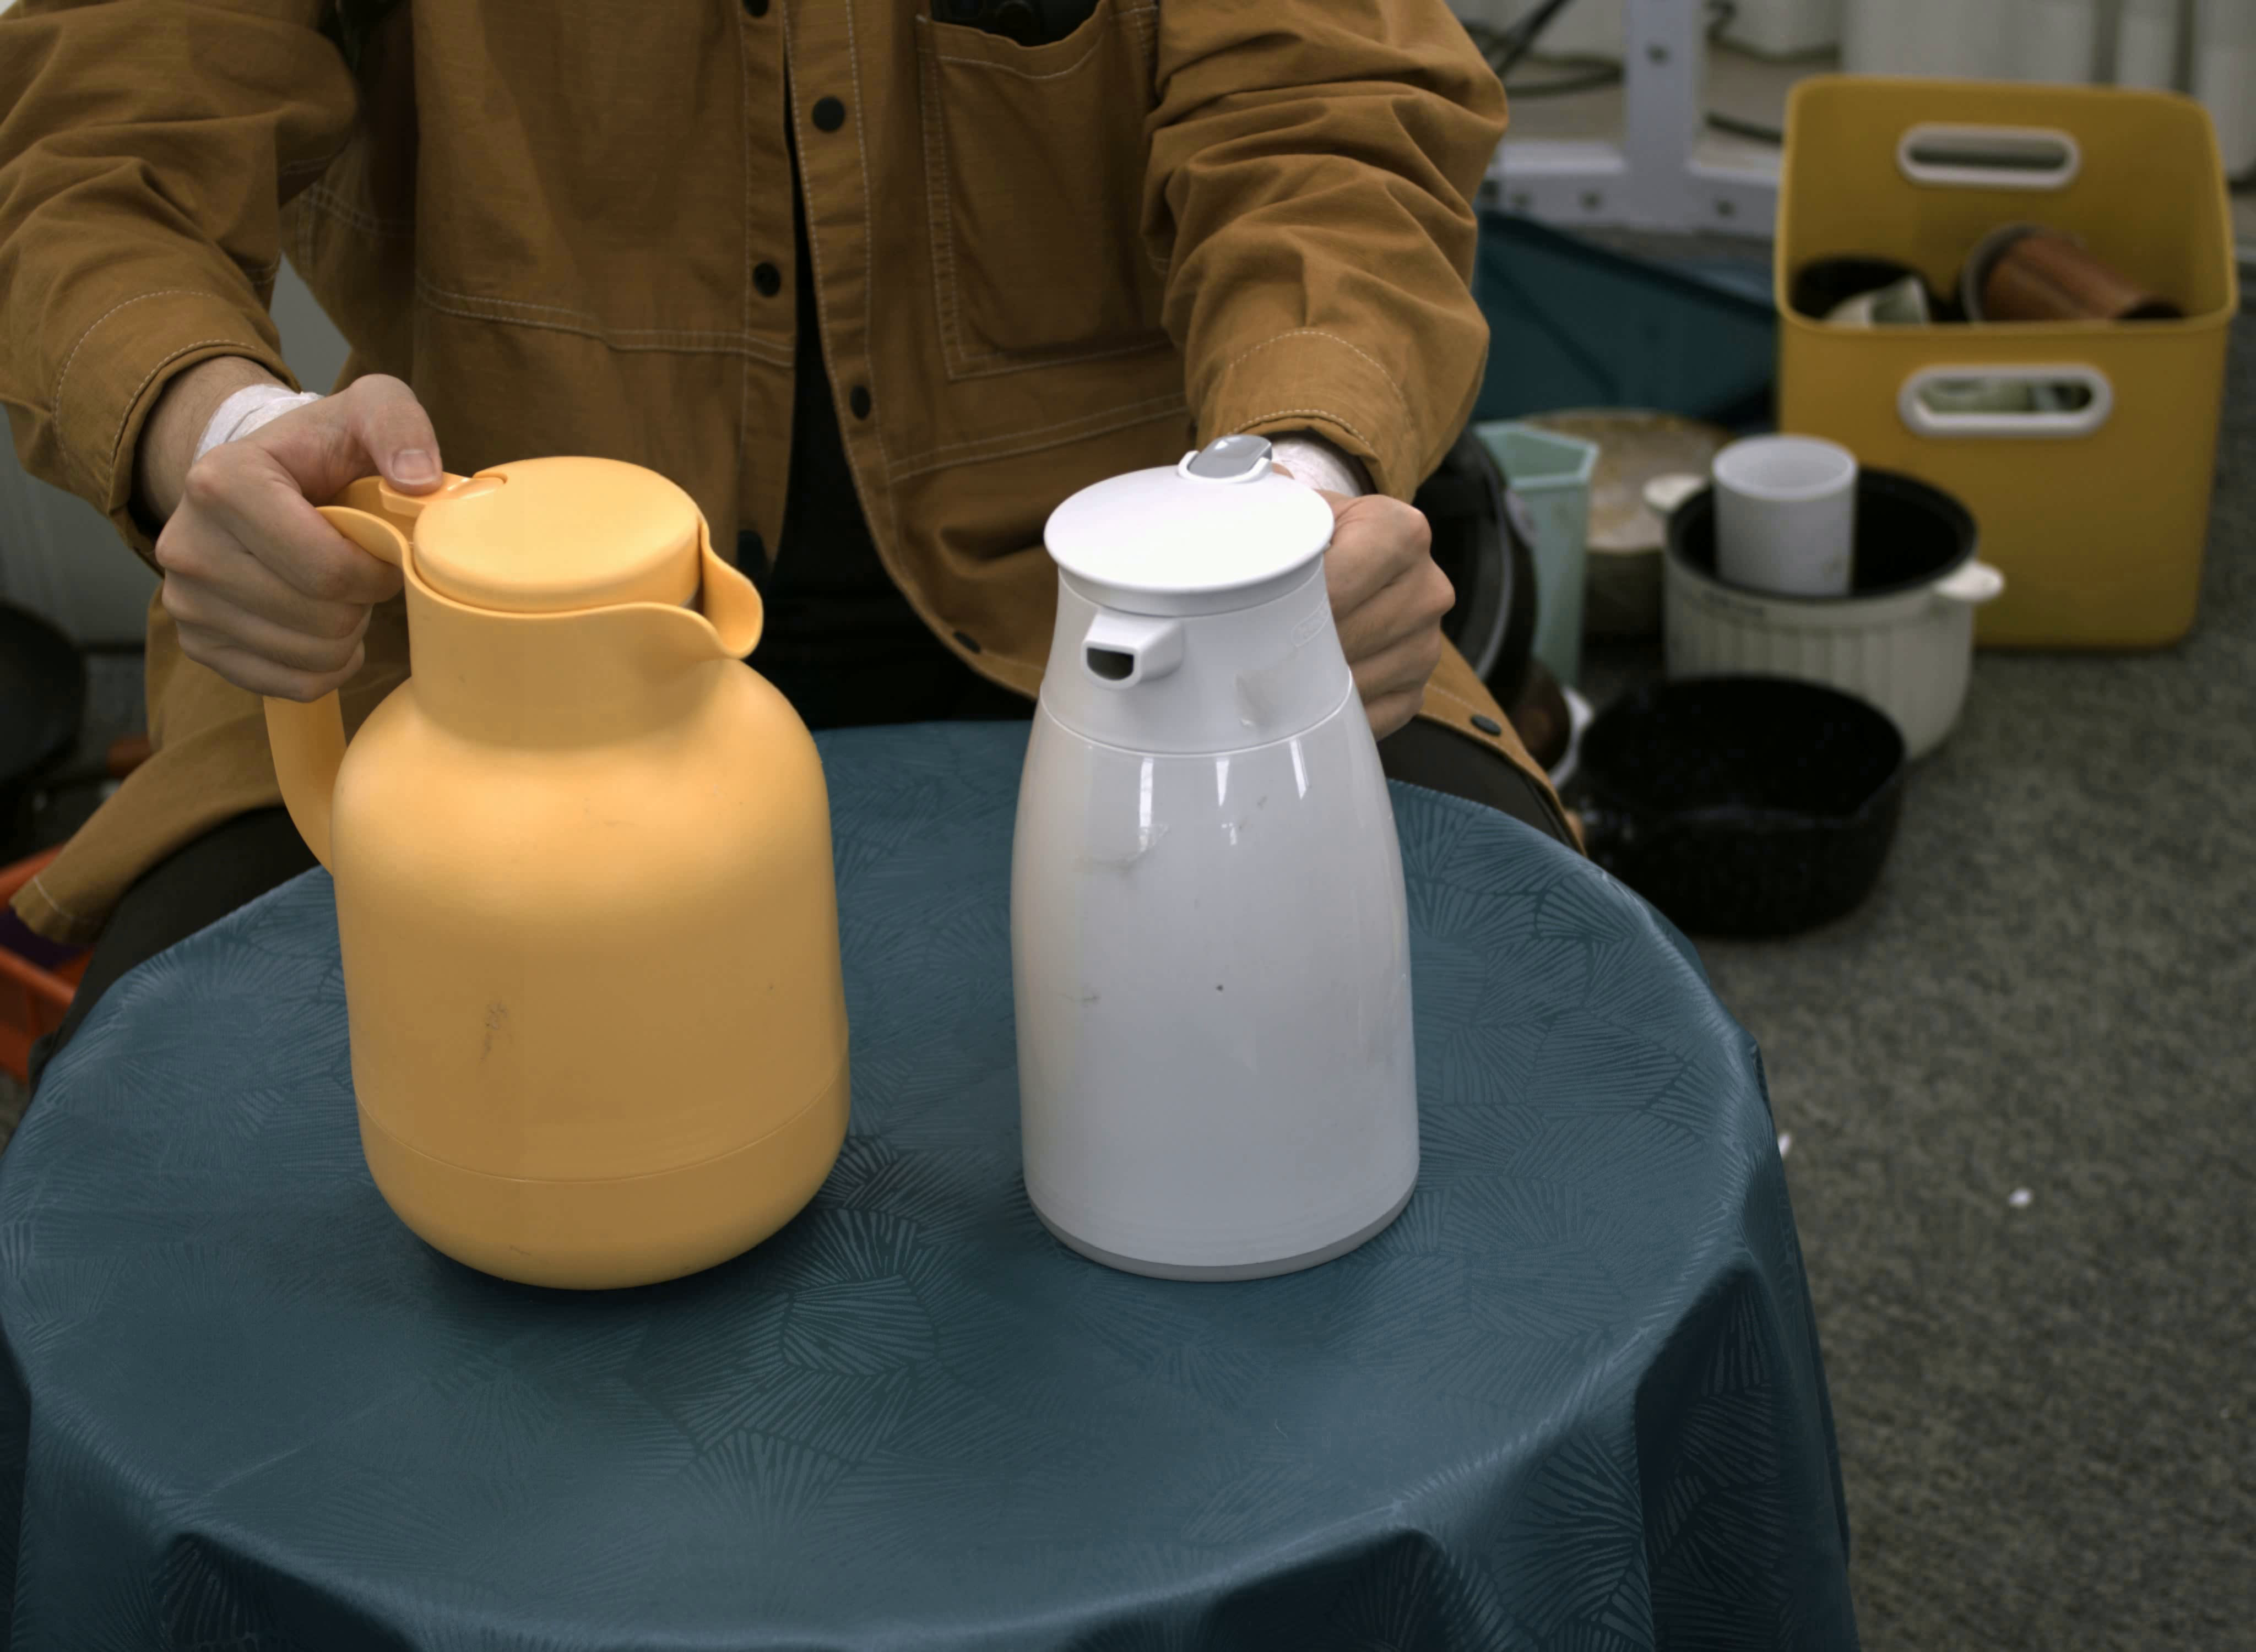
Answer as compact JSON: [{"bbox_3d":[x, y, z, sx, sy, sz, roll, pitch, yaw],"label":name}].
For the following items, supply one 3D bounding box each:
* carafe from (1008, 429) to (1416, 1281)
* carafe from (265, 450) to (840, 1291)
[{"bbox_3d":[0.031,-0.002,1.828,0.131,0.246,0.170,8,28,22],"label":"carafe"},{"bbox_3d":[-0.190,0.004,1.818,0.202,0.257,0.166,19,33,30],"label":"carafe"}]
